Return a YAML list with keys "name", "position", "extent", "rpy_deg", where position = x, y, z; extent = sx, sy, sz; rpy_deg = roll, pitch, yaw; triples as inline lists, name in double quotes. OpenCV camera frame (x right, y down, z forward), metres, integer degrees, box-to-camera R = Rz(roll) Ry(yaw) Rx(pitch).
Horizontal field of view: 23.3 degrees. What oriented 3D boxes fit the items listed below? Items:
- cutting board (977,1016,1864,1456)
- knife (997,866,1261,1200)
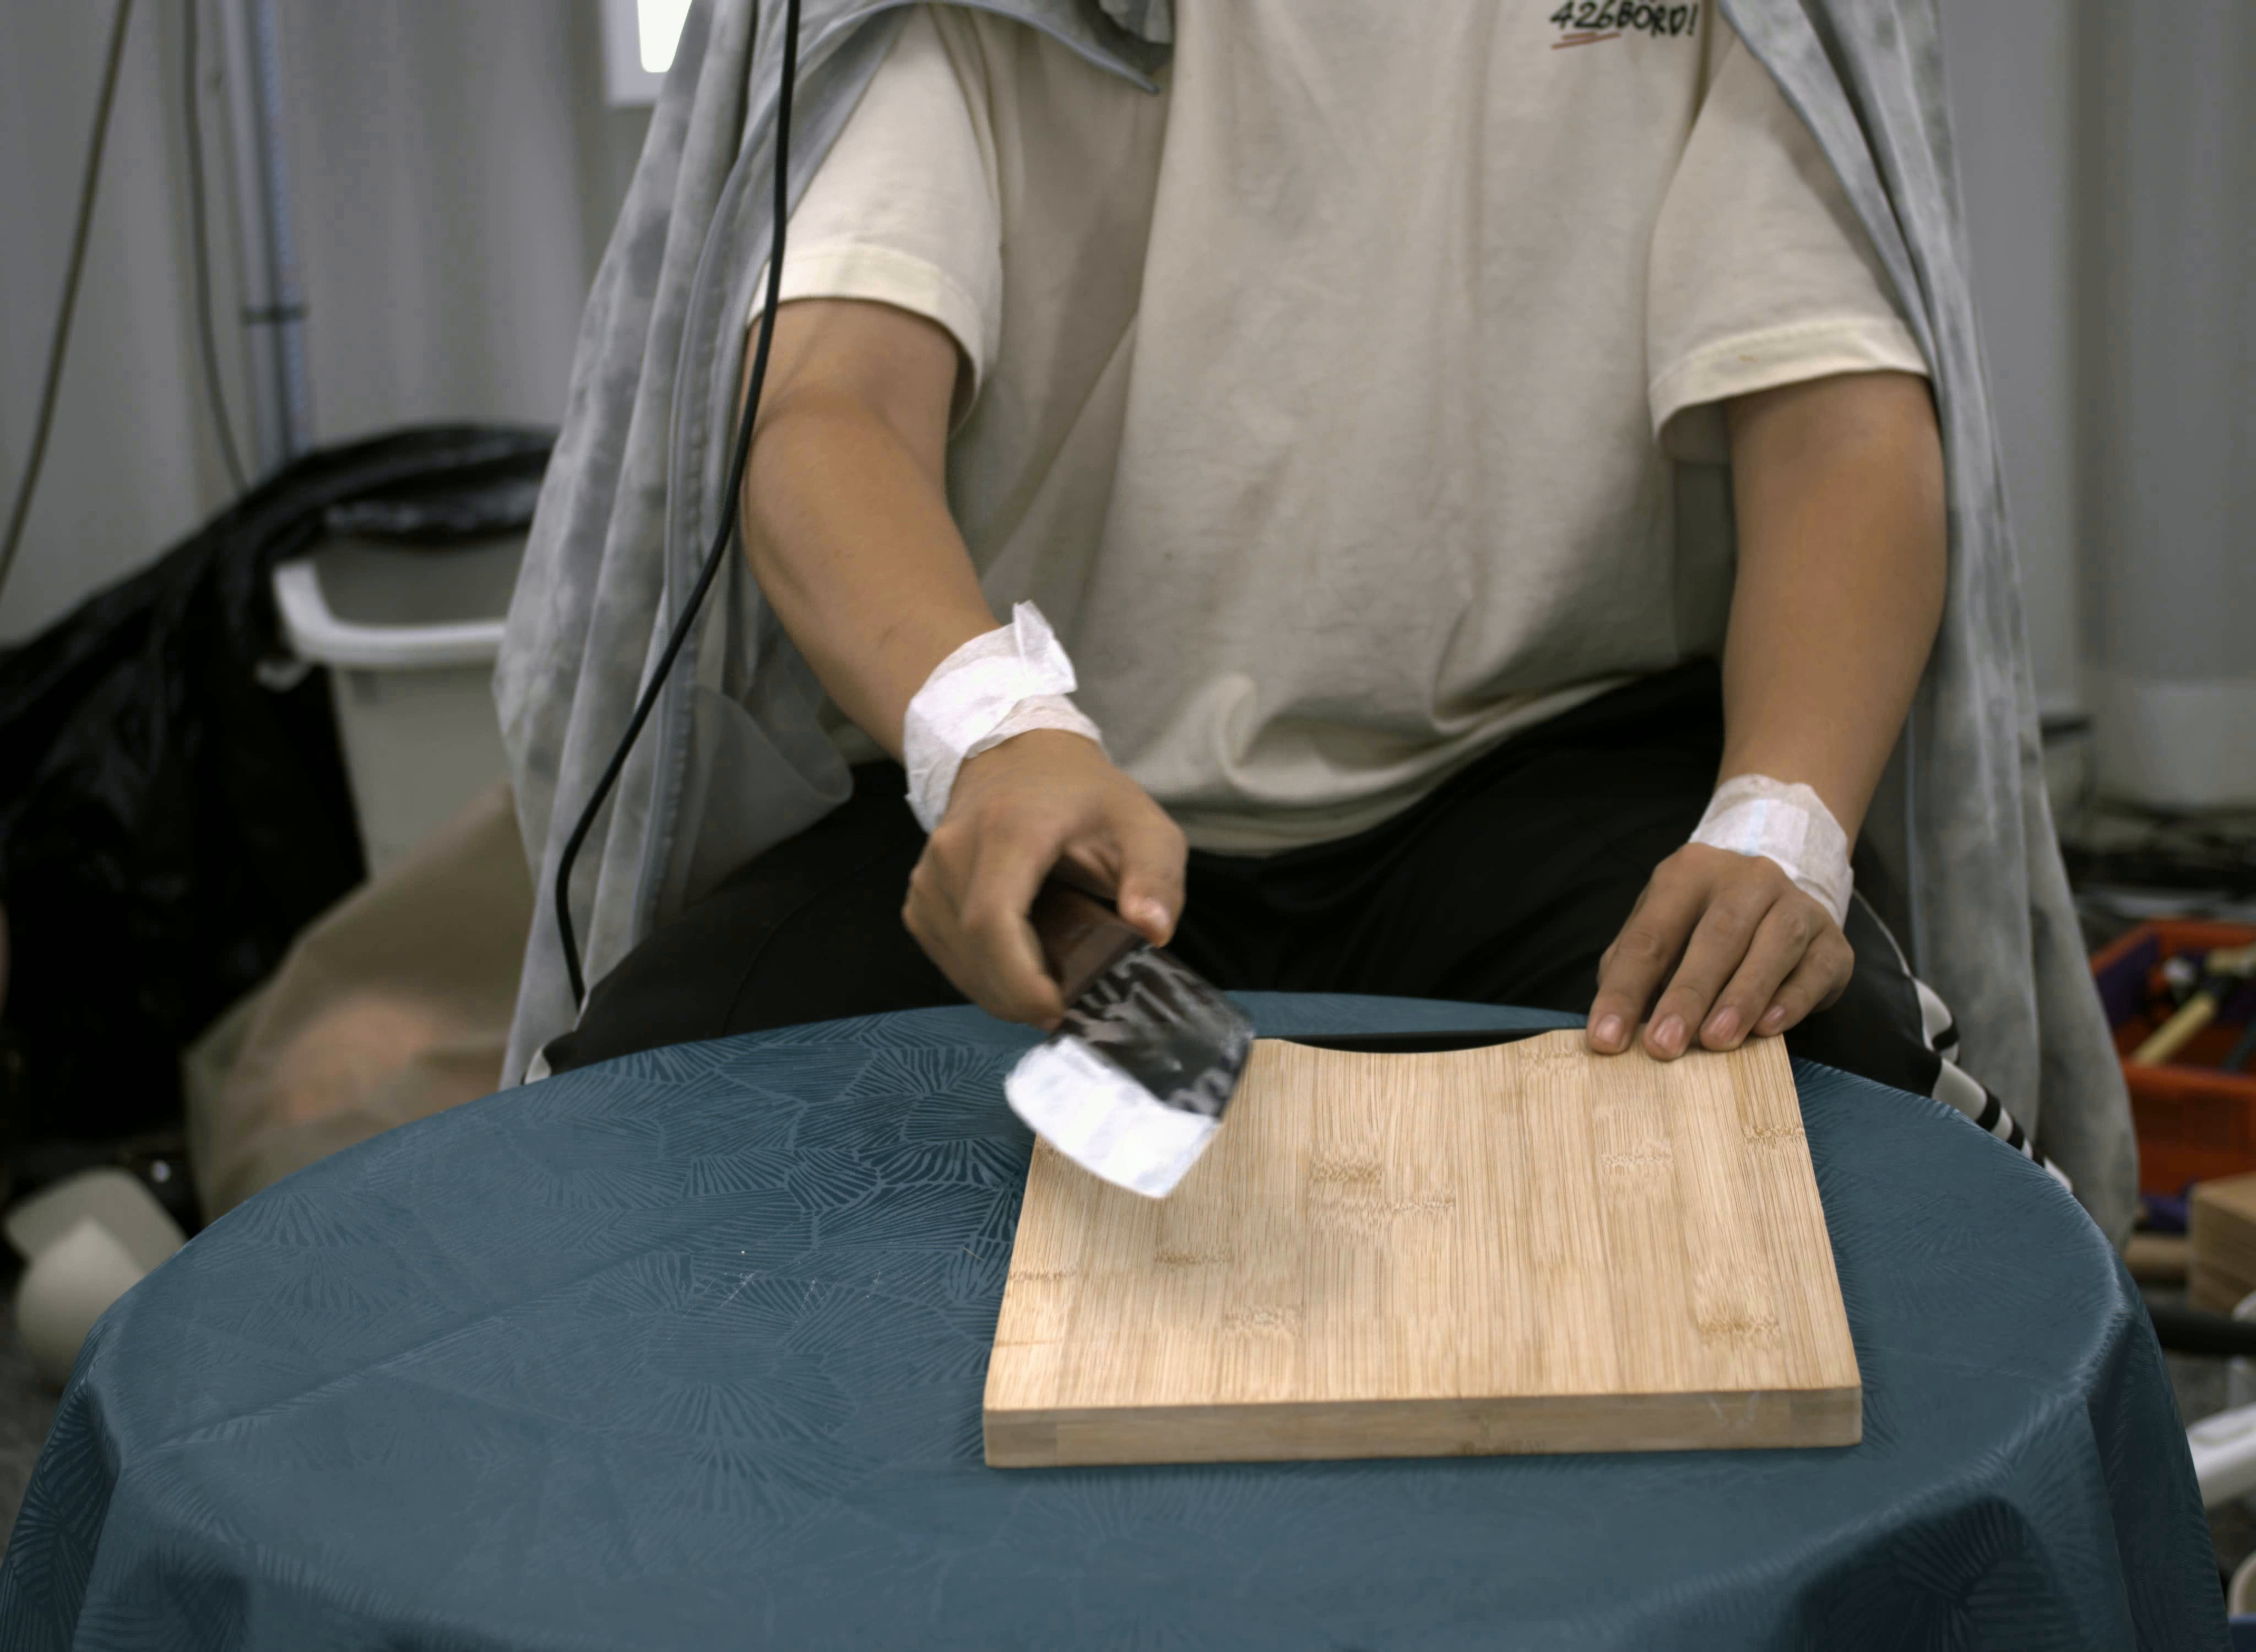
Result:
- name: "cutting board"
  position: [0.088, 0.120, 1.654]
  extent: [0.250, 0.023, 0.351]
  rpy_deg: [-2, 15, 2]
- name: "knife"
  position: [-0.007, 0.062, 1.675]
  extent: [0.068, 0.024, 0.301]
  rpy_deg: [-48, 17, -2]
